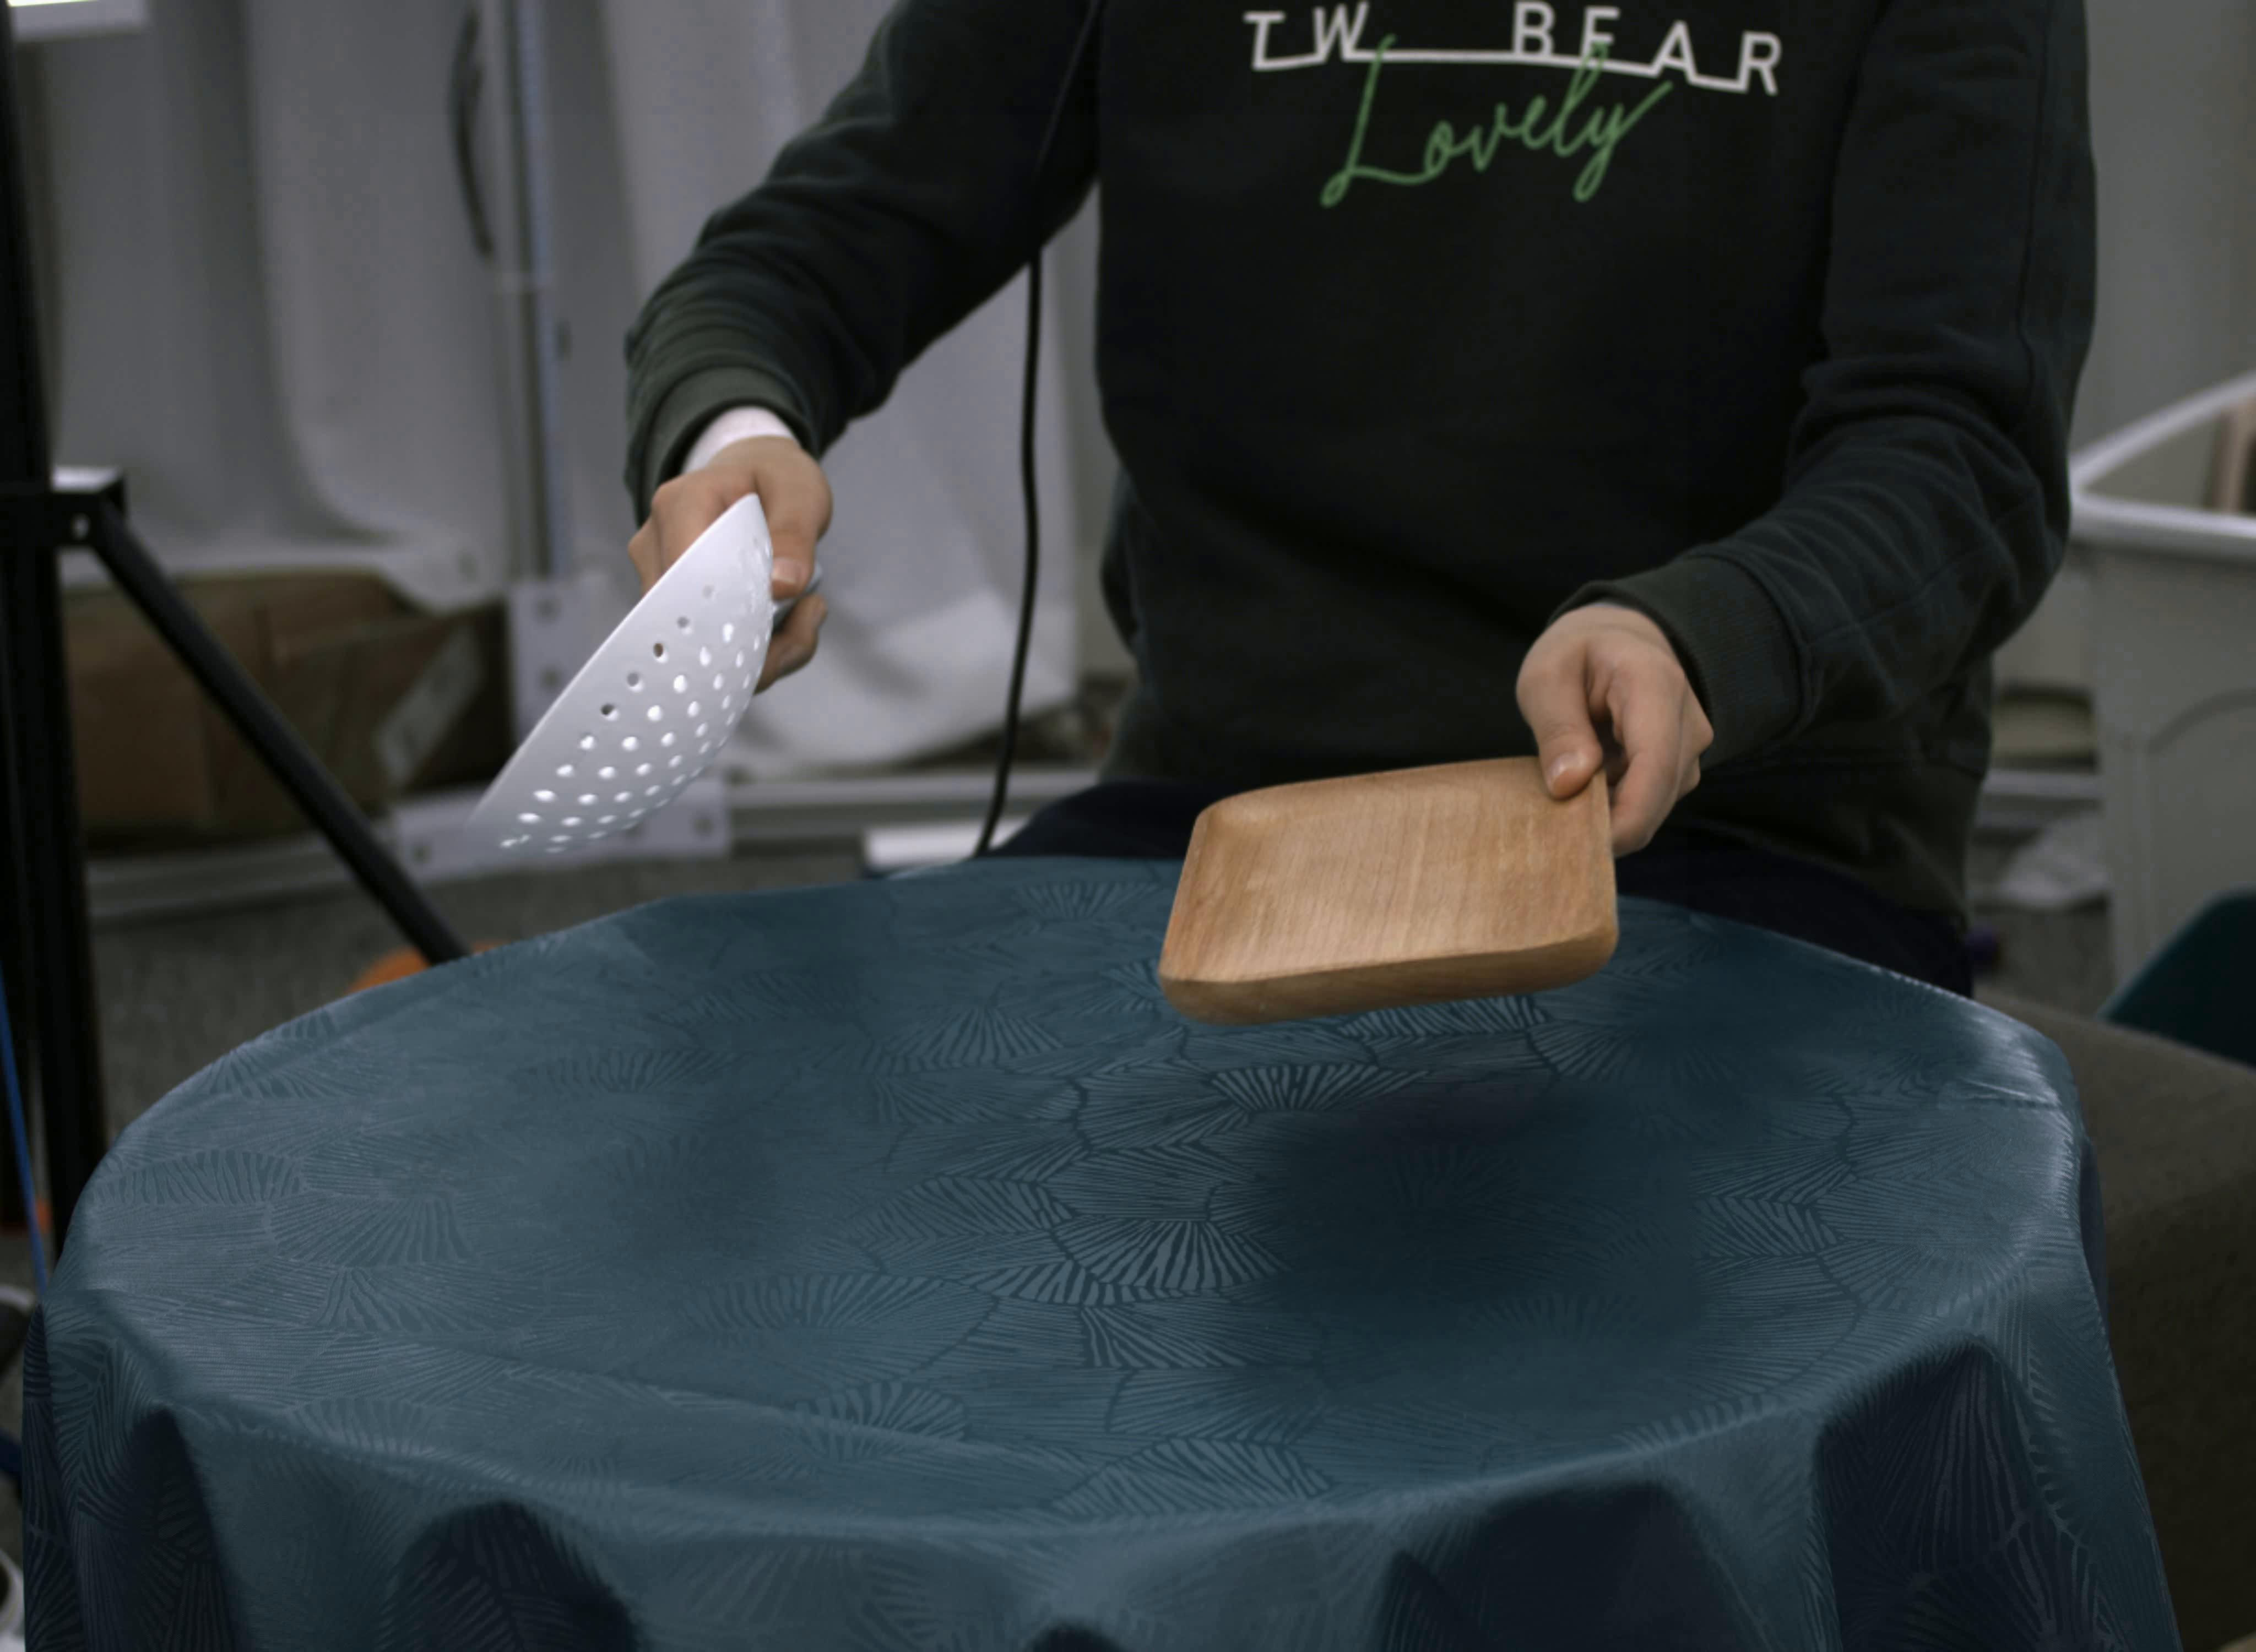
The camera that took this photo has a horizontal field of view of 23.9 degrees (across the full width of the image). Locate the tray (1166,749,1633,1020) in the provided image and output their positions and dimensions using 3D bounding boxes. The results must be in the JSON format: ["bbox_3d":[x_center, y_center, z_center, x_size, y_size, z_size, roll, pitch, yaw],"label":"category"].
[{"bbox_3d":[0.080,0.015,1.539,0.130,0.023,0.250,-5,11,5],"label":"tray"}]

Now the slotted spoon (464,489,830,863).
[{"bbox_3d":[-0.133,-0.057,1.661,0.045,0.136,0.350,37,11,-5],"label":"slotted spoon"}]
